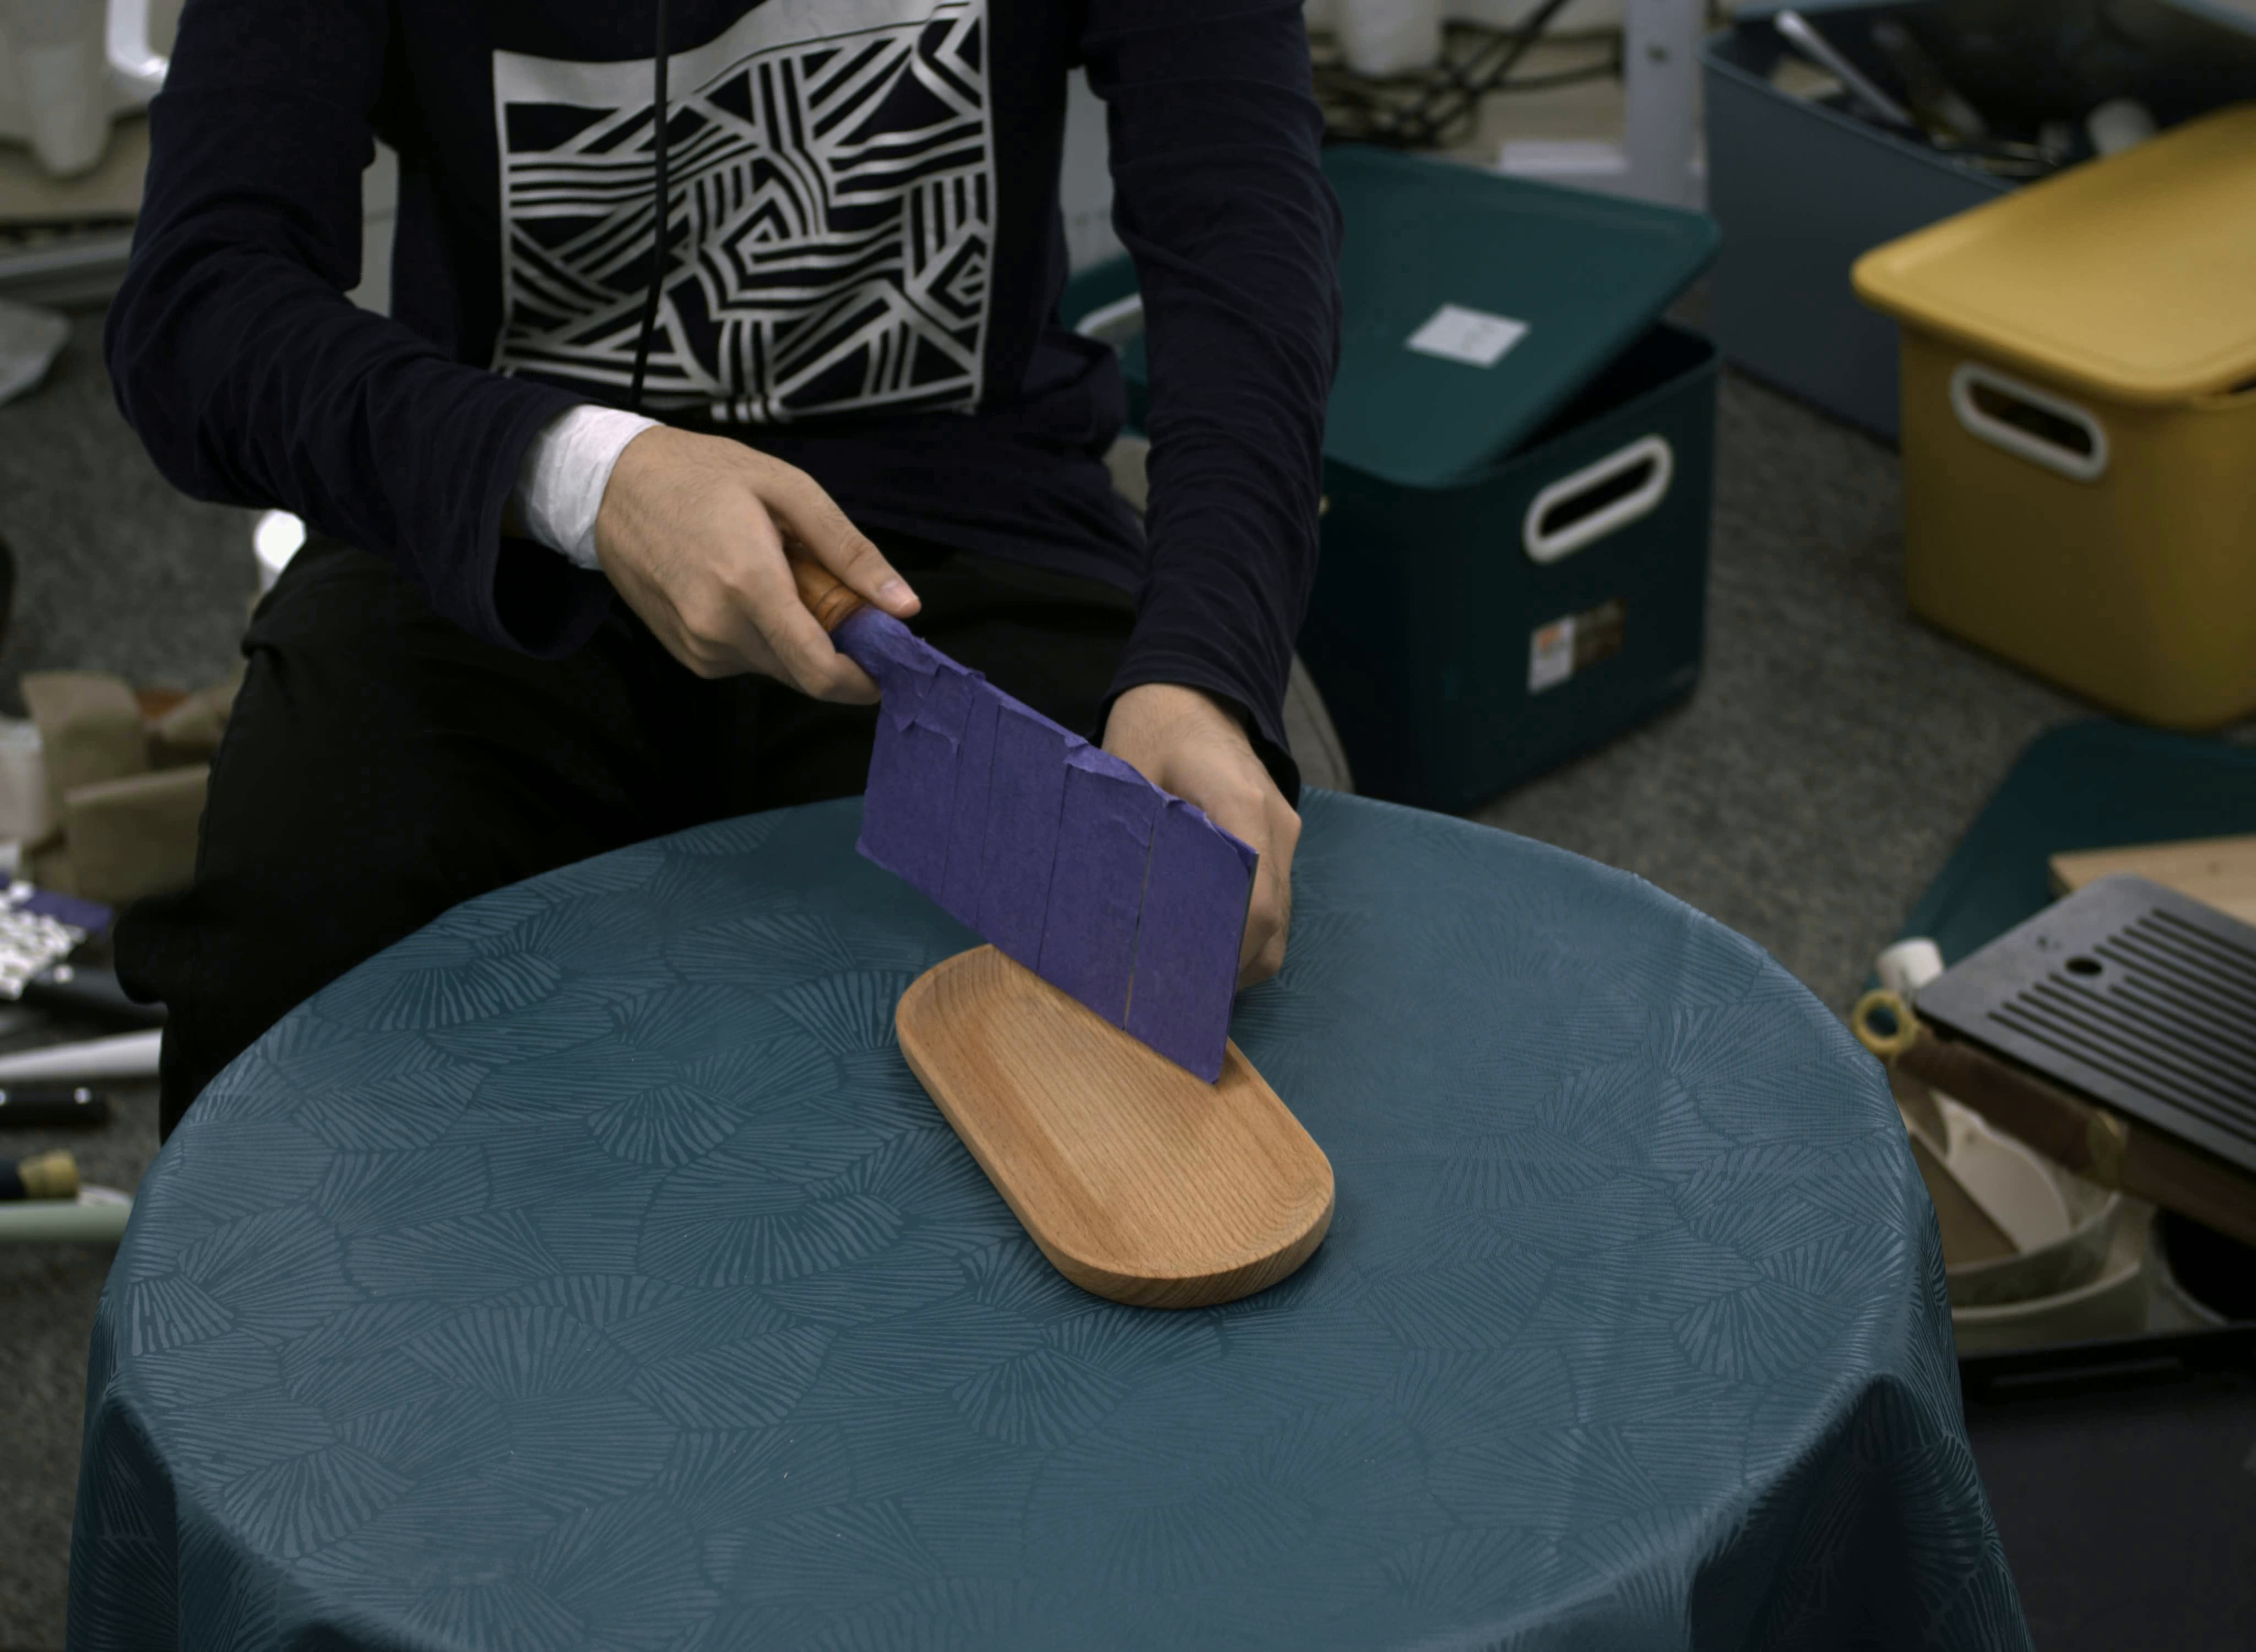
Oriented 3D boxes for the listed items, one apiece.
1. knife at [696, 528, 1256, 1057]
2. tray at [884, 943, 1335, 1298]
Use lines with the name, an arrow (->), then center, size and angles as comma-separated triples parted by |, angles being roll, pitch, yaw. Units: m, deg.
knife -> -0.061, -0.012, 1.981 | 0.032, 0.103, 0.316 | -4, 24, -38
tray -> -0.008, 0.095, 1.891 | 0.102, 0.020, 0.233 | -15, 28, -18
